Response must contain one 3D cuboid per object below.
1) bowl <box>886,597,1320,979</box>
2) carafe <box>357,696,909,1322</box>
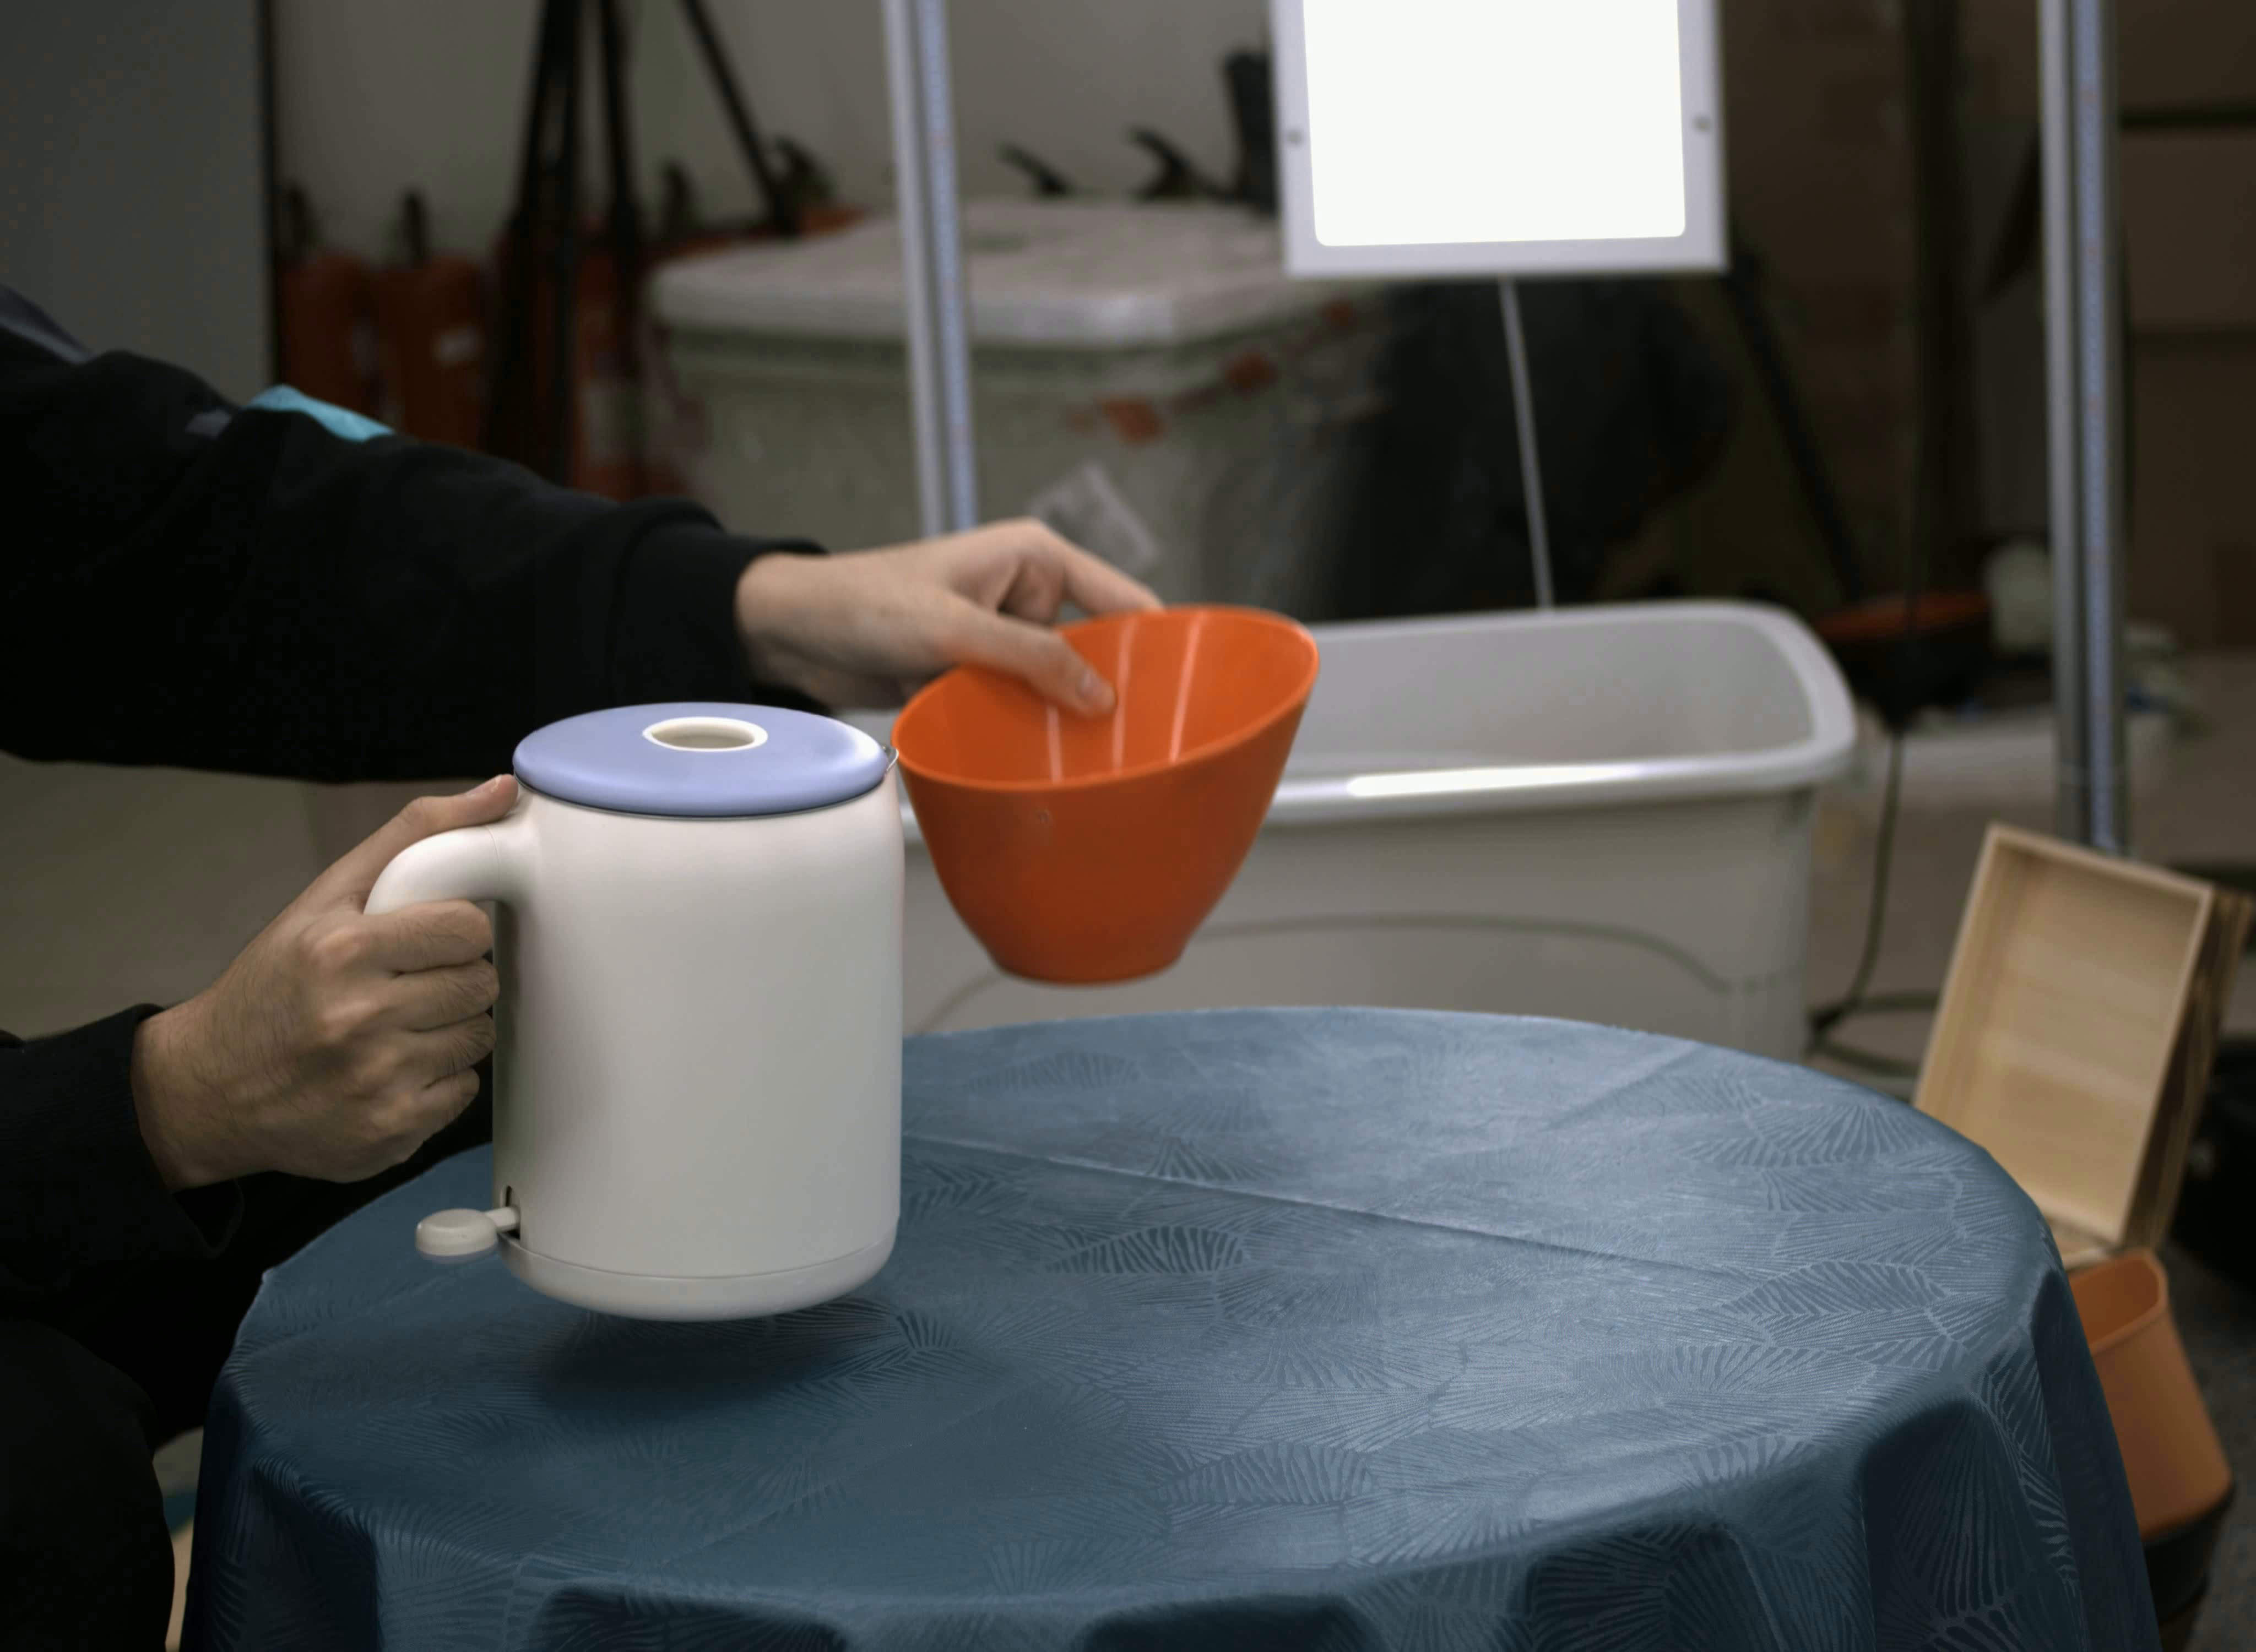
[{"bbox_3d":[-0.007,-0.010,1.871,0.147,0.105,0.148,-2,20,-1],"label":"bowl"},{"bbox_3d":[-0.157,0.061,1.744,0.187,0.183,0.134,-10,18,-28],"label":"carafe"}]
